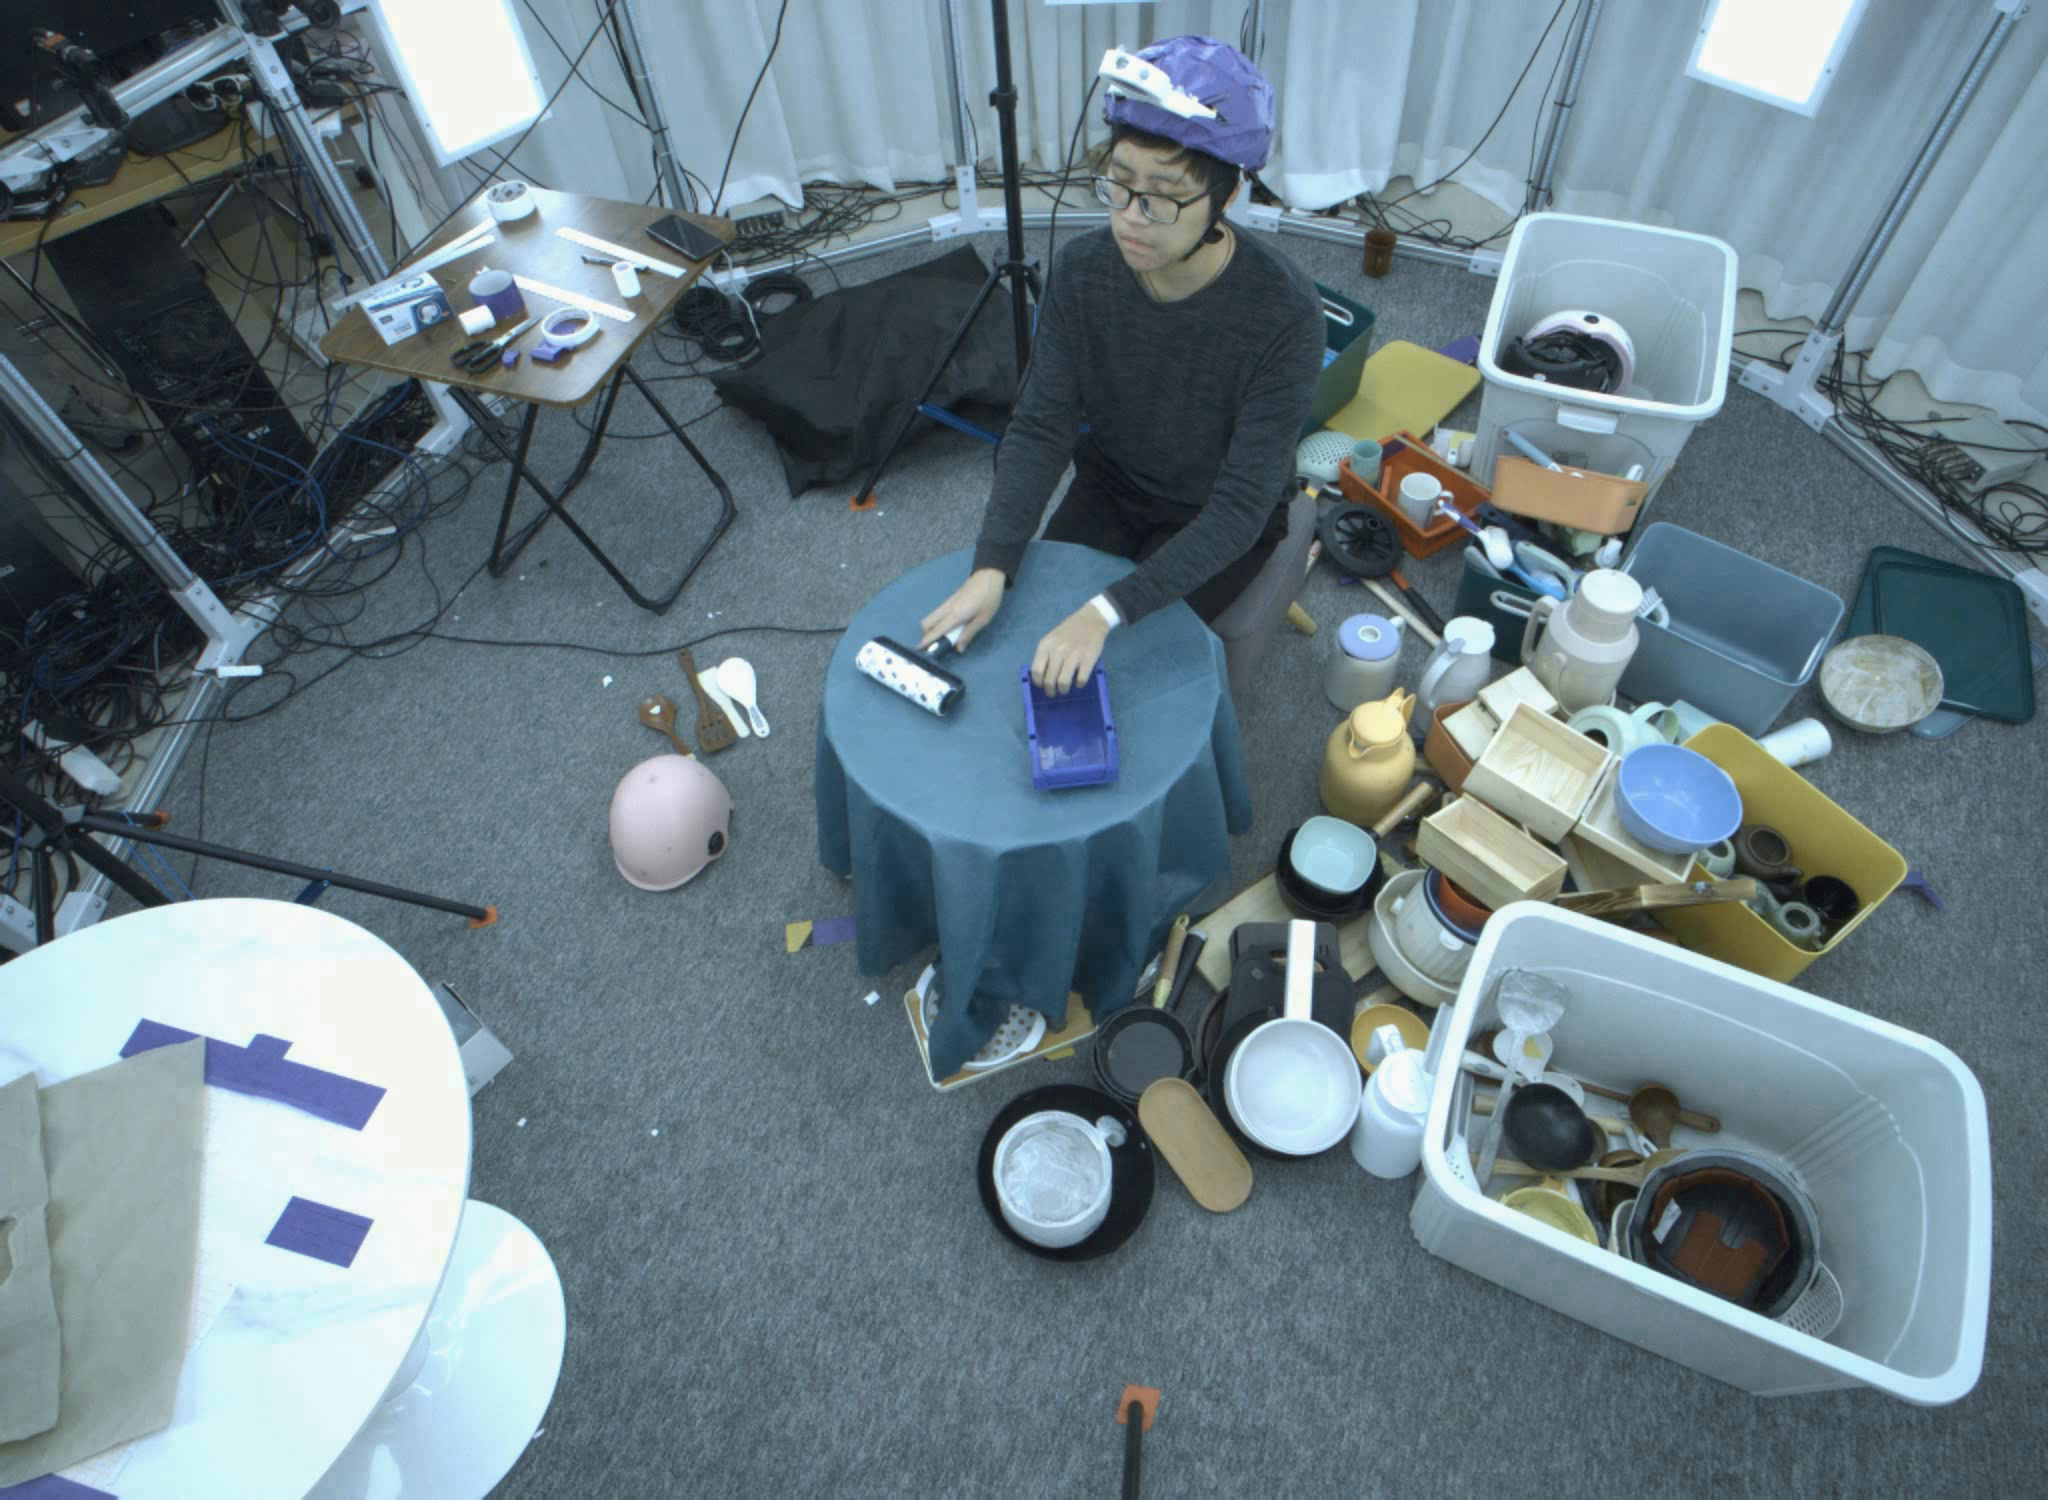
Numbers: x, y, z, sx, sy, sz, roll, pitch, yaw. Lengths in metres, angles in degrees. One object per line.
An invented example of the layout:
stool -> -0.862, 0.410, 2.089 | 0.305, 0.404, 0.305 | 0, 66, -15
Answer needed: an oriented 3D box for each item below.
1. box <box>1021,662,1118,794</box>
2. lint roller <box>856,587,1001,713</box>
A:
box -> 0.066, -0.028, 1.755 | 0.125, 0.083, 0.177 | -5, 52, -1
lint roller -> -0.118, -0.178, 1.885 | 0.173, 0.051, 0.248 | 30, 61, 20
